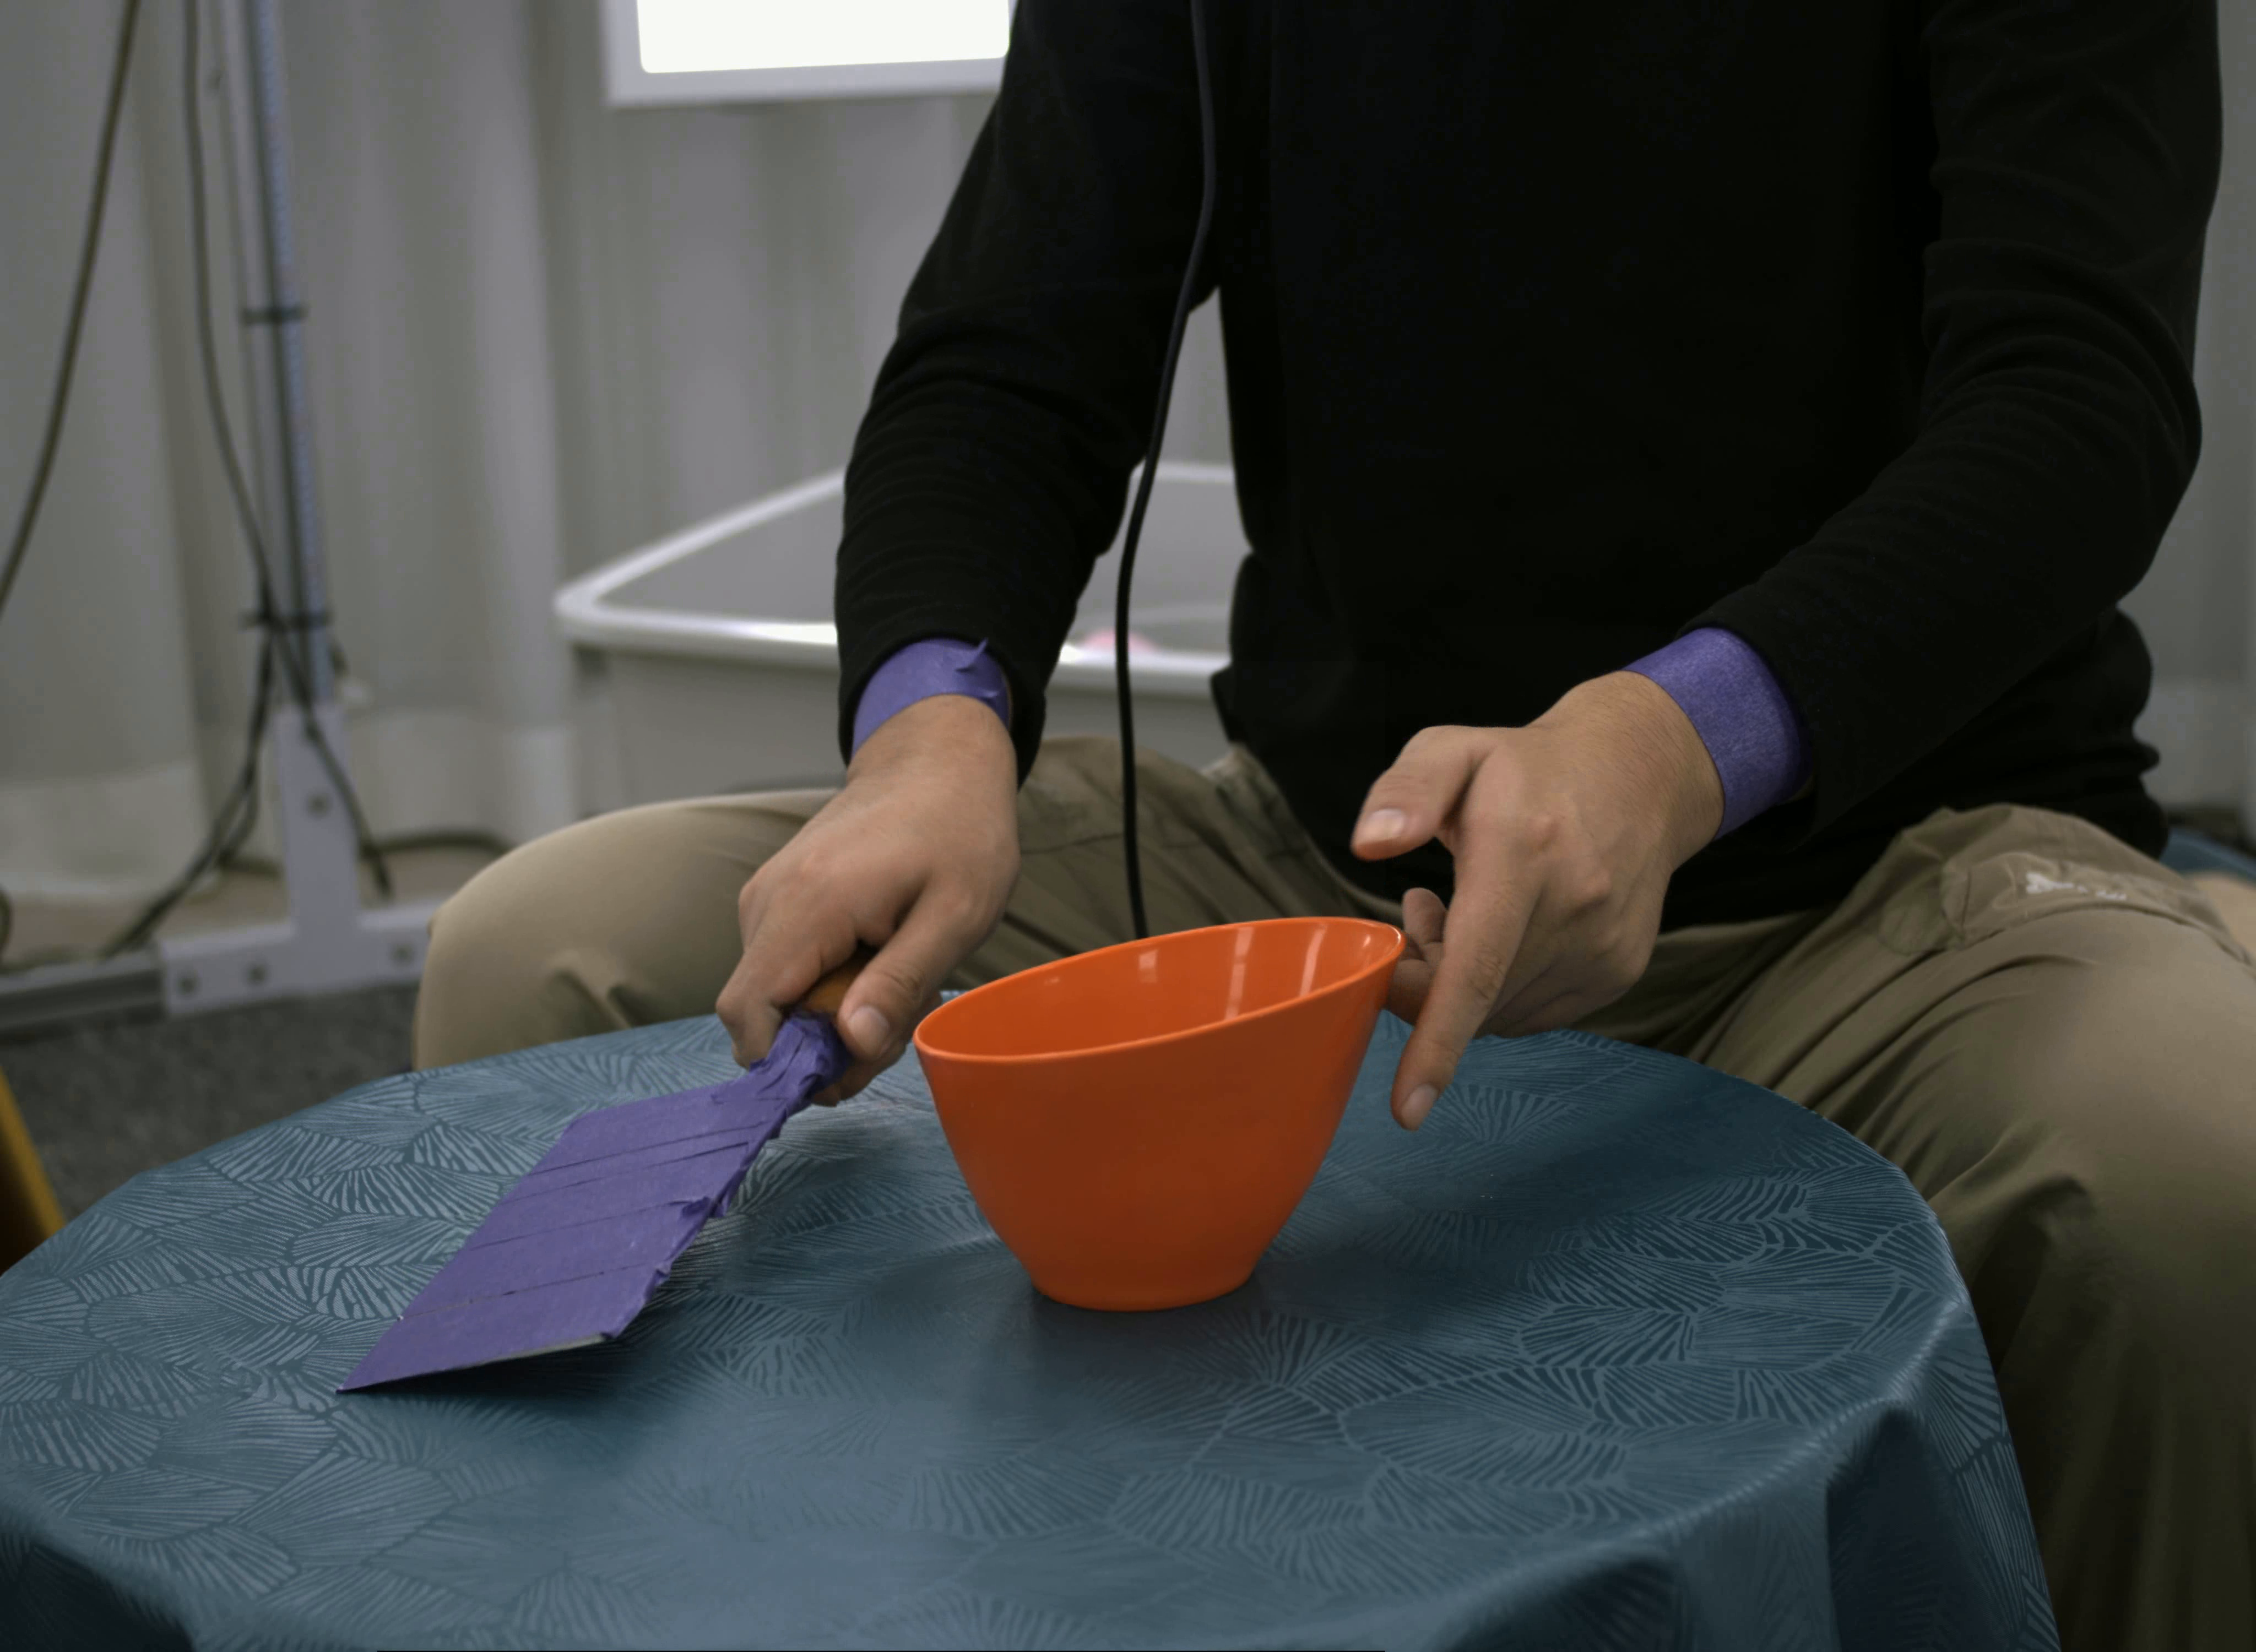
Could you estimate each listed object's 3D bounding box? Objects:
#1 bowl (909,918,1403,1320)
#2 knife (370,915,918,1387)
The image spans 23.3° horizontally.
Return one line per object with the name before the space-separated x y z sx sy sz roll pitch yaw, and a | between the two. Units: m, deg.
bowl | 0.011 0.088 1.620 0.147 0.104 0.149 -4 15 1
knife | -0.149 0.097 1.698 0.103 0.032 0.317 -12 14 18
